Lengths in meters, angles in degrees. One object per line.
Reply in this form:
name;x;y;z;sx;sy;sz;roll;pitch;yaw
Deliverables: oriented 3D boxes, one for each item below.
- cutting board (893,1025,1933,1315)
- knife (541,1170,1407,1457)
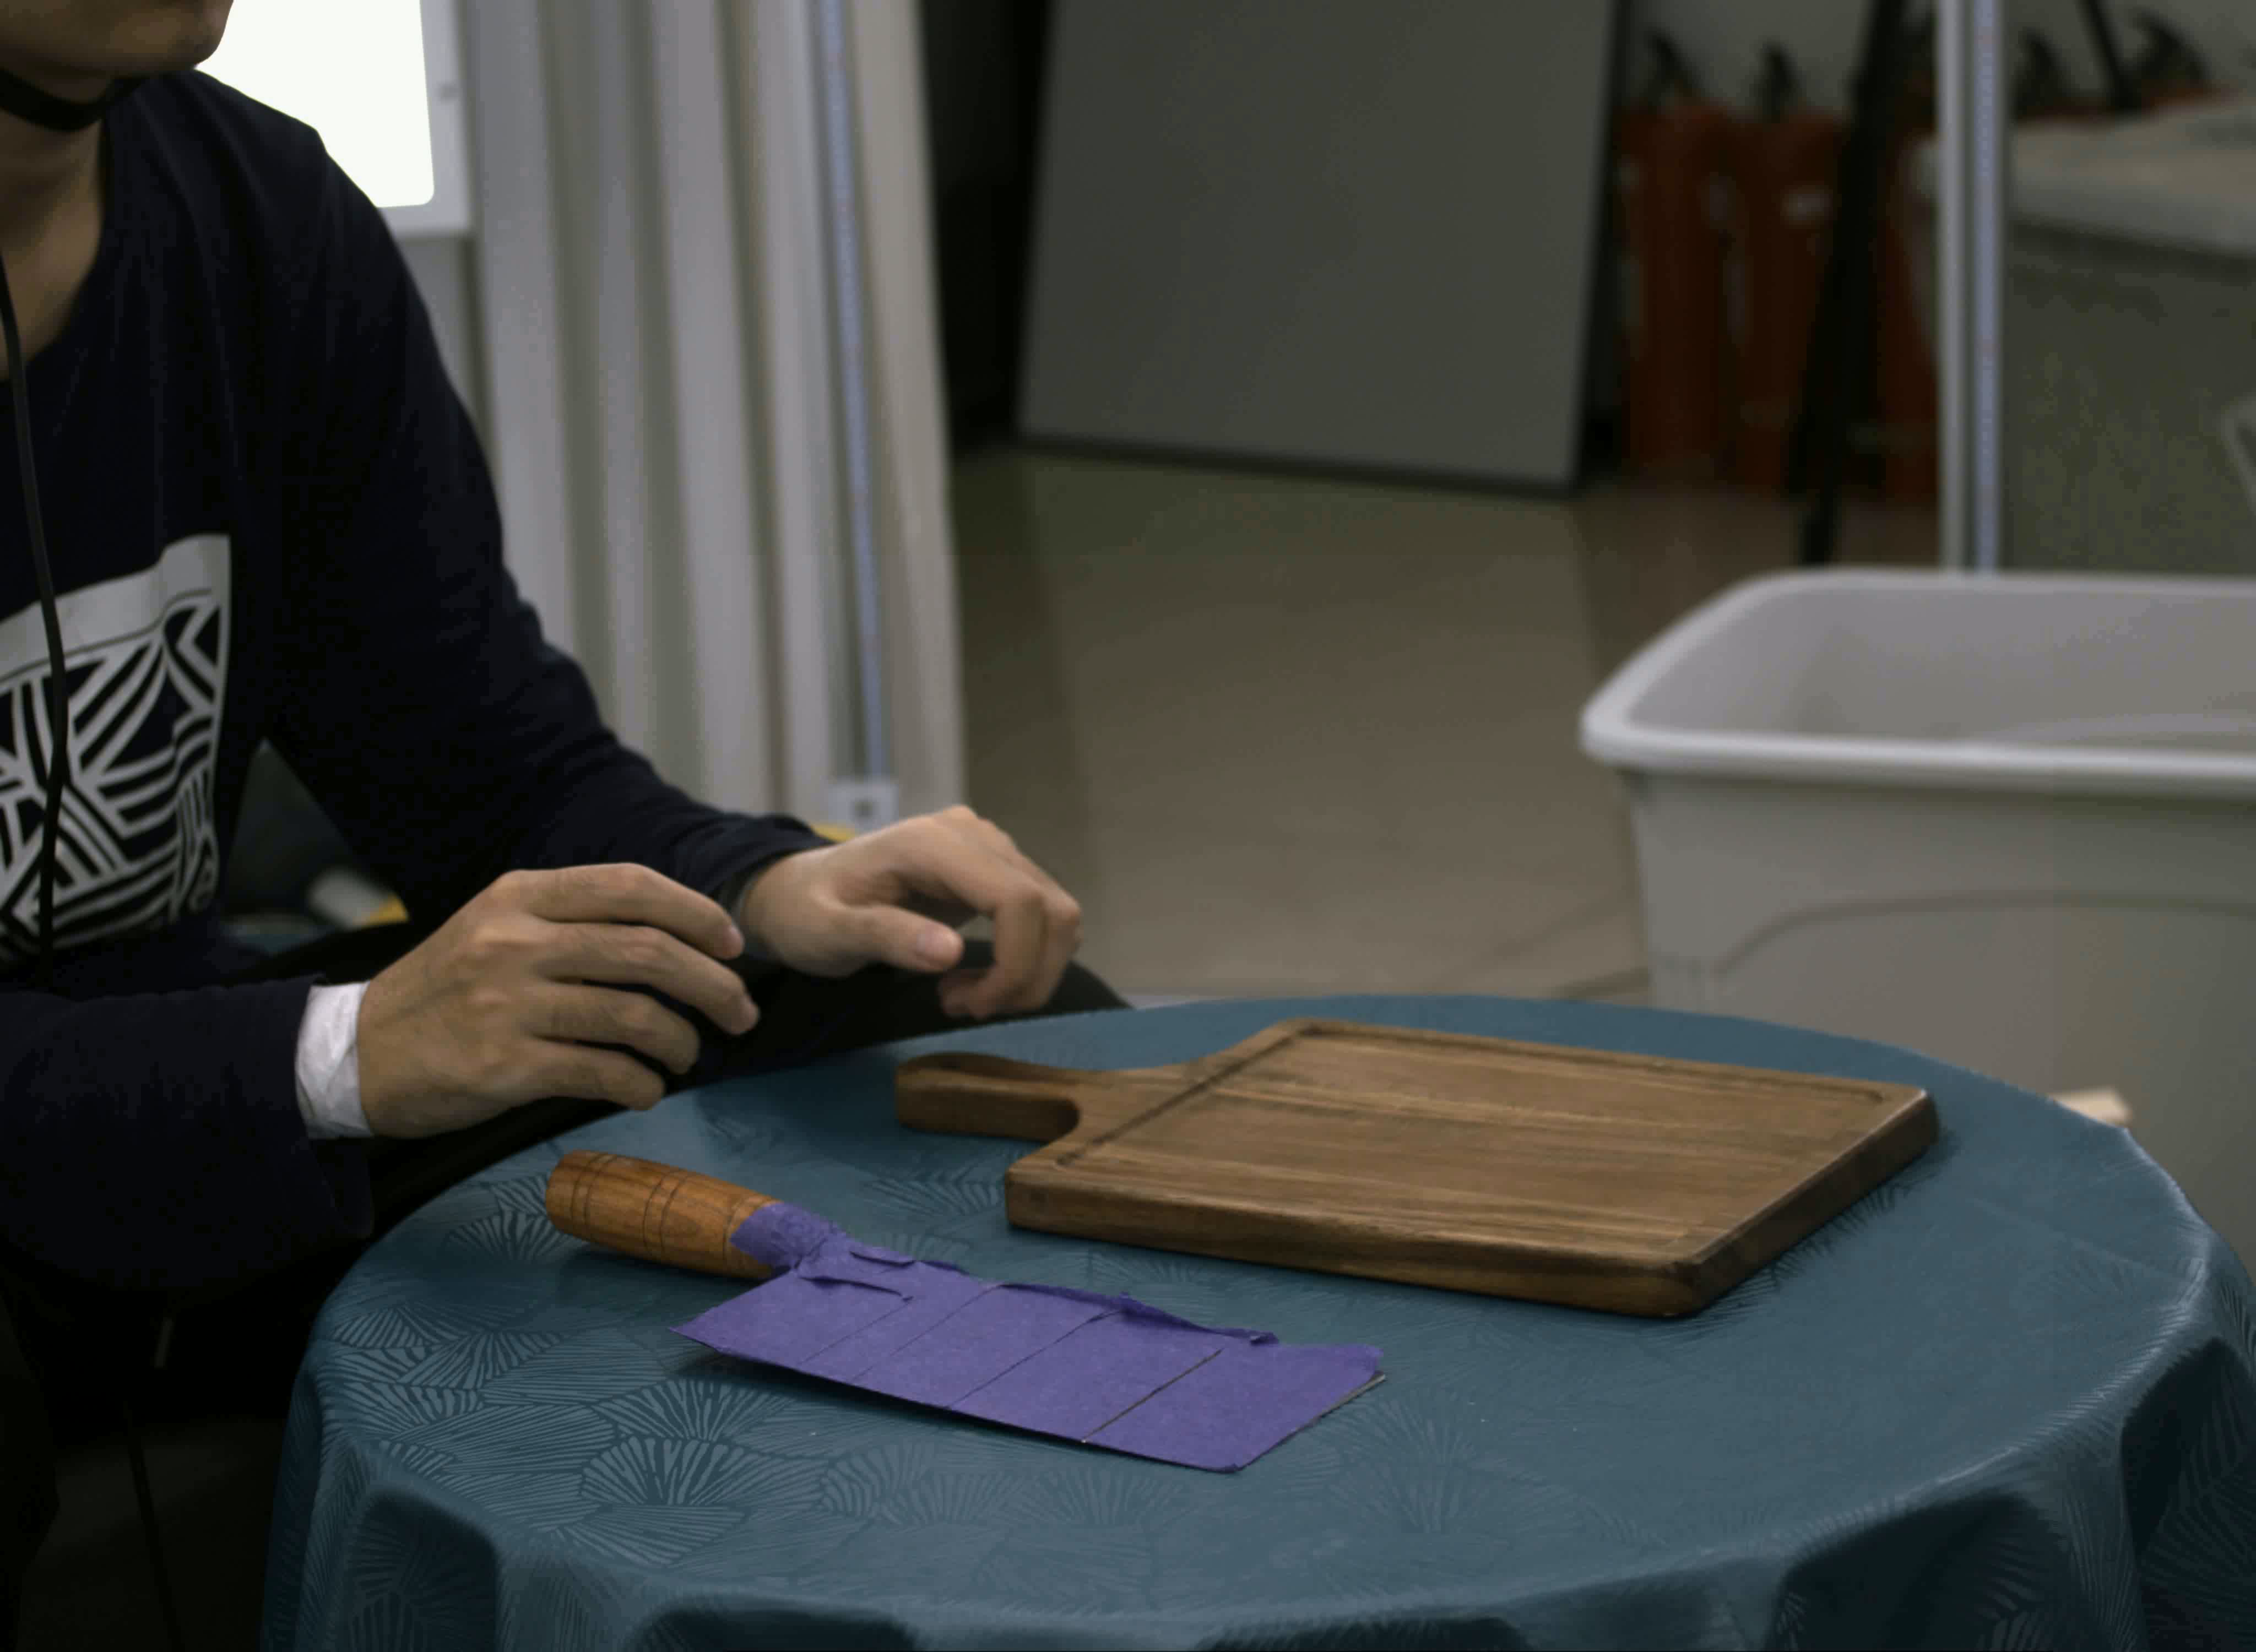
cutting board;0.071;0.105;1.779;0.354;0.023;0.198;4;16;33
knife;-0.071;0.146;1.636;0.317;0.032;0.102;6;17;35
